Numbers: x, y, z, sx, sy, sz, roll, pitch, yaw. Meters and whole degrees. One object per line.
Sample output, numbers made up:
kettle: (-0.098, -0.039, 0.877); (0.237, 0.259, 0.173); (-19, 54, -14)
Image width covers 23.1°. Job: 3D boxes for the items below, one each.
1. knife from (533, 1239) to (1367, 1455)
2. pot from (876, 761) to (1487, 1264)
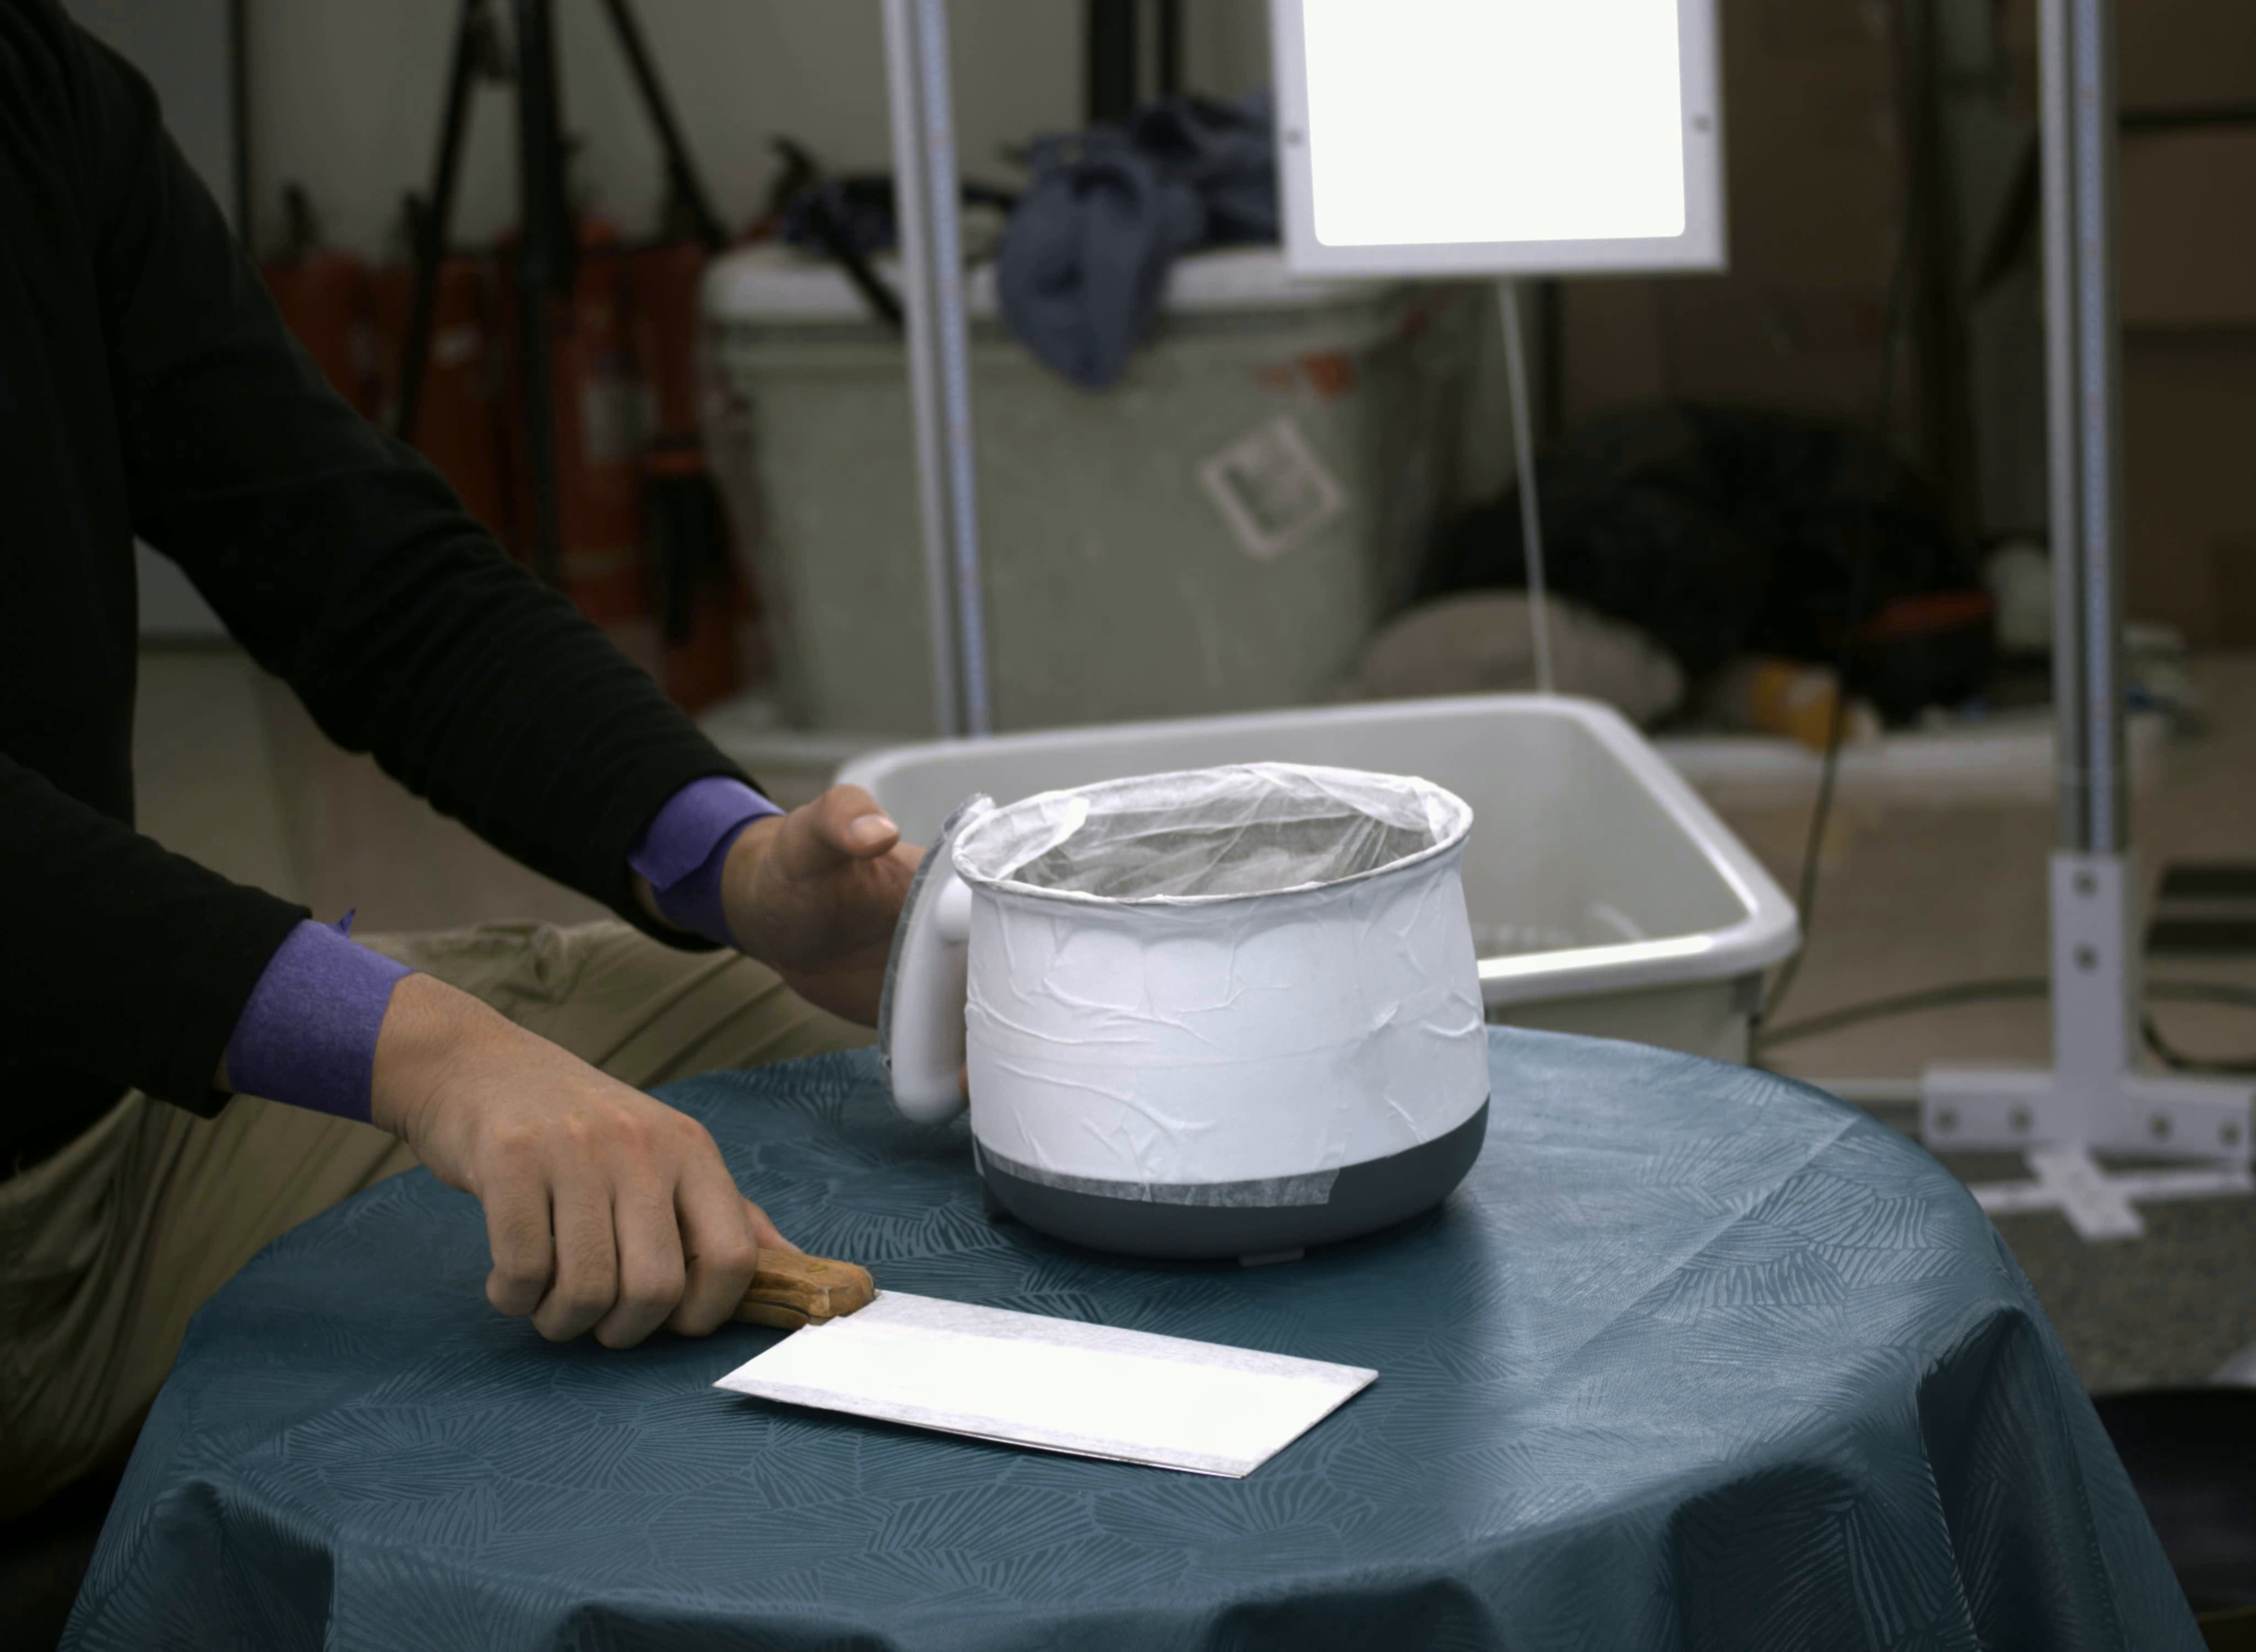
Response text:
knife: (-0.074, 0.166, 1.737); (0.311, 0.021, 0.091); (5, 16, 32)
pot: (0.010, 0.059, 1.876); (0.238, 0.137, 0.174); (7, 17, 36)
